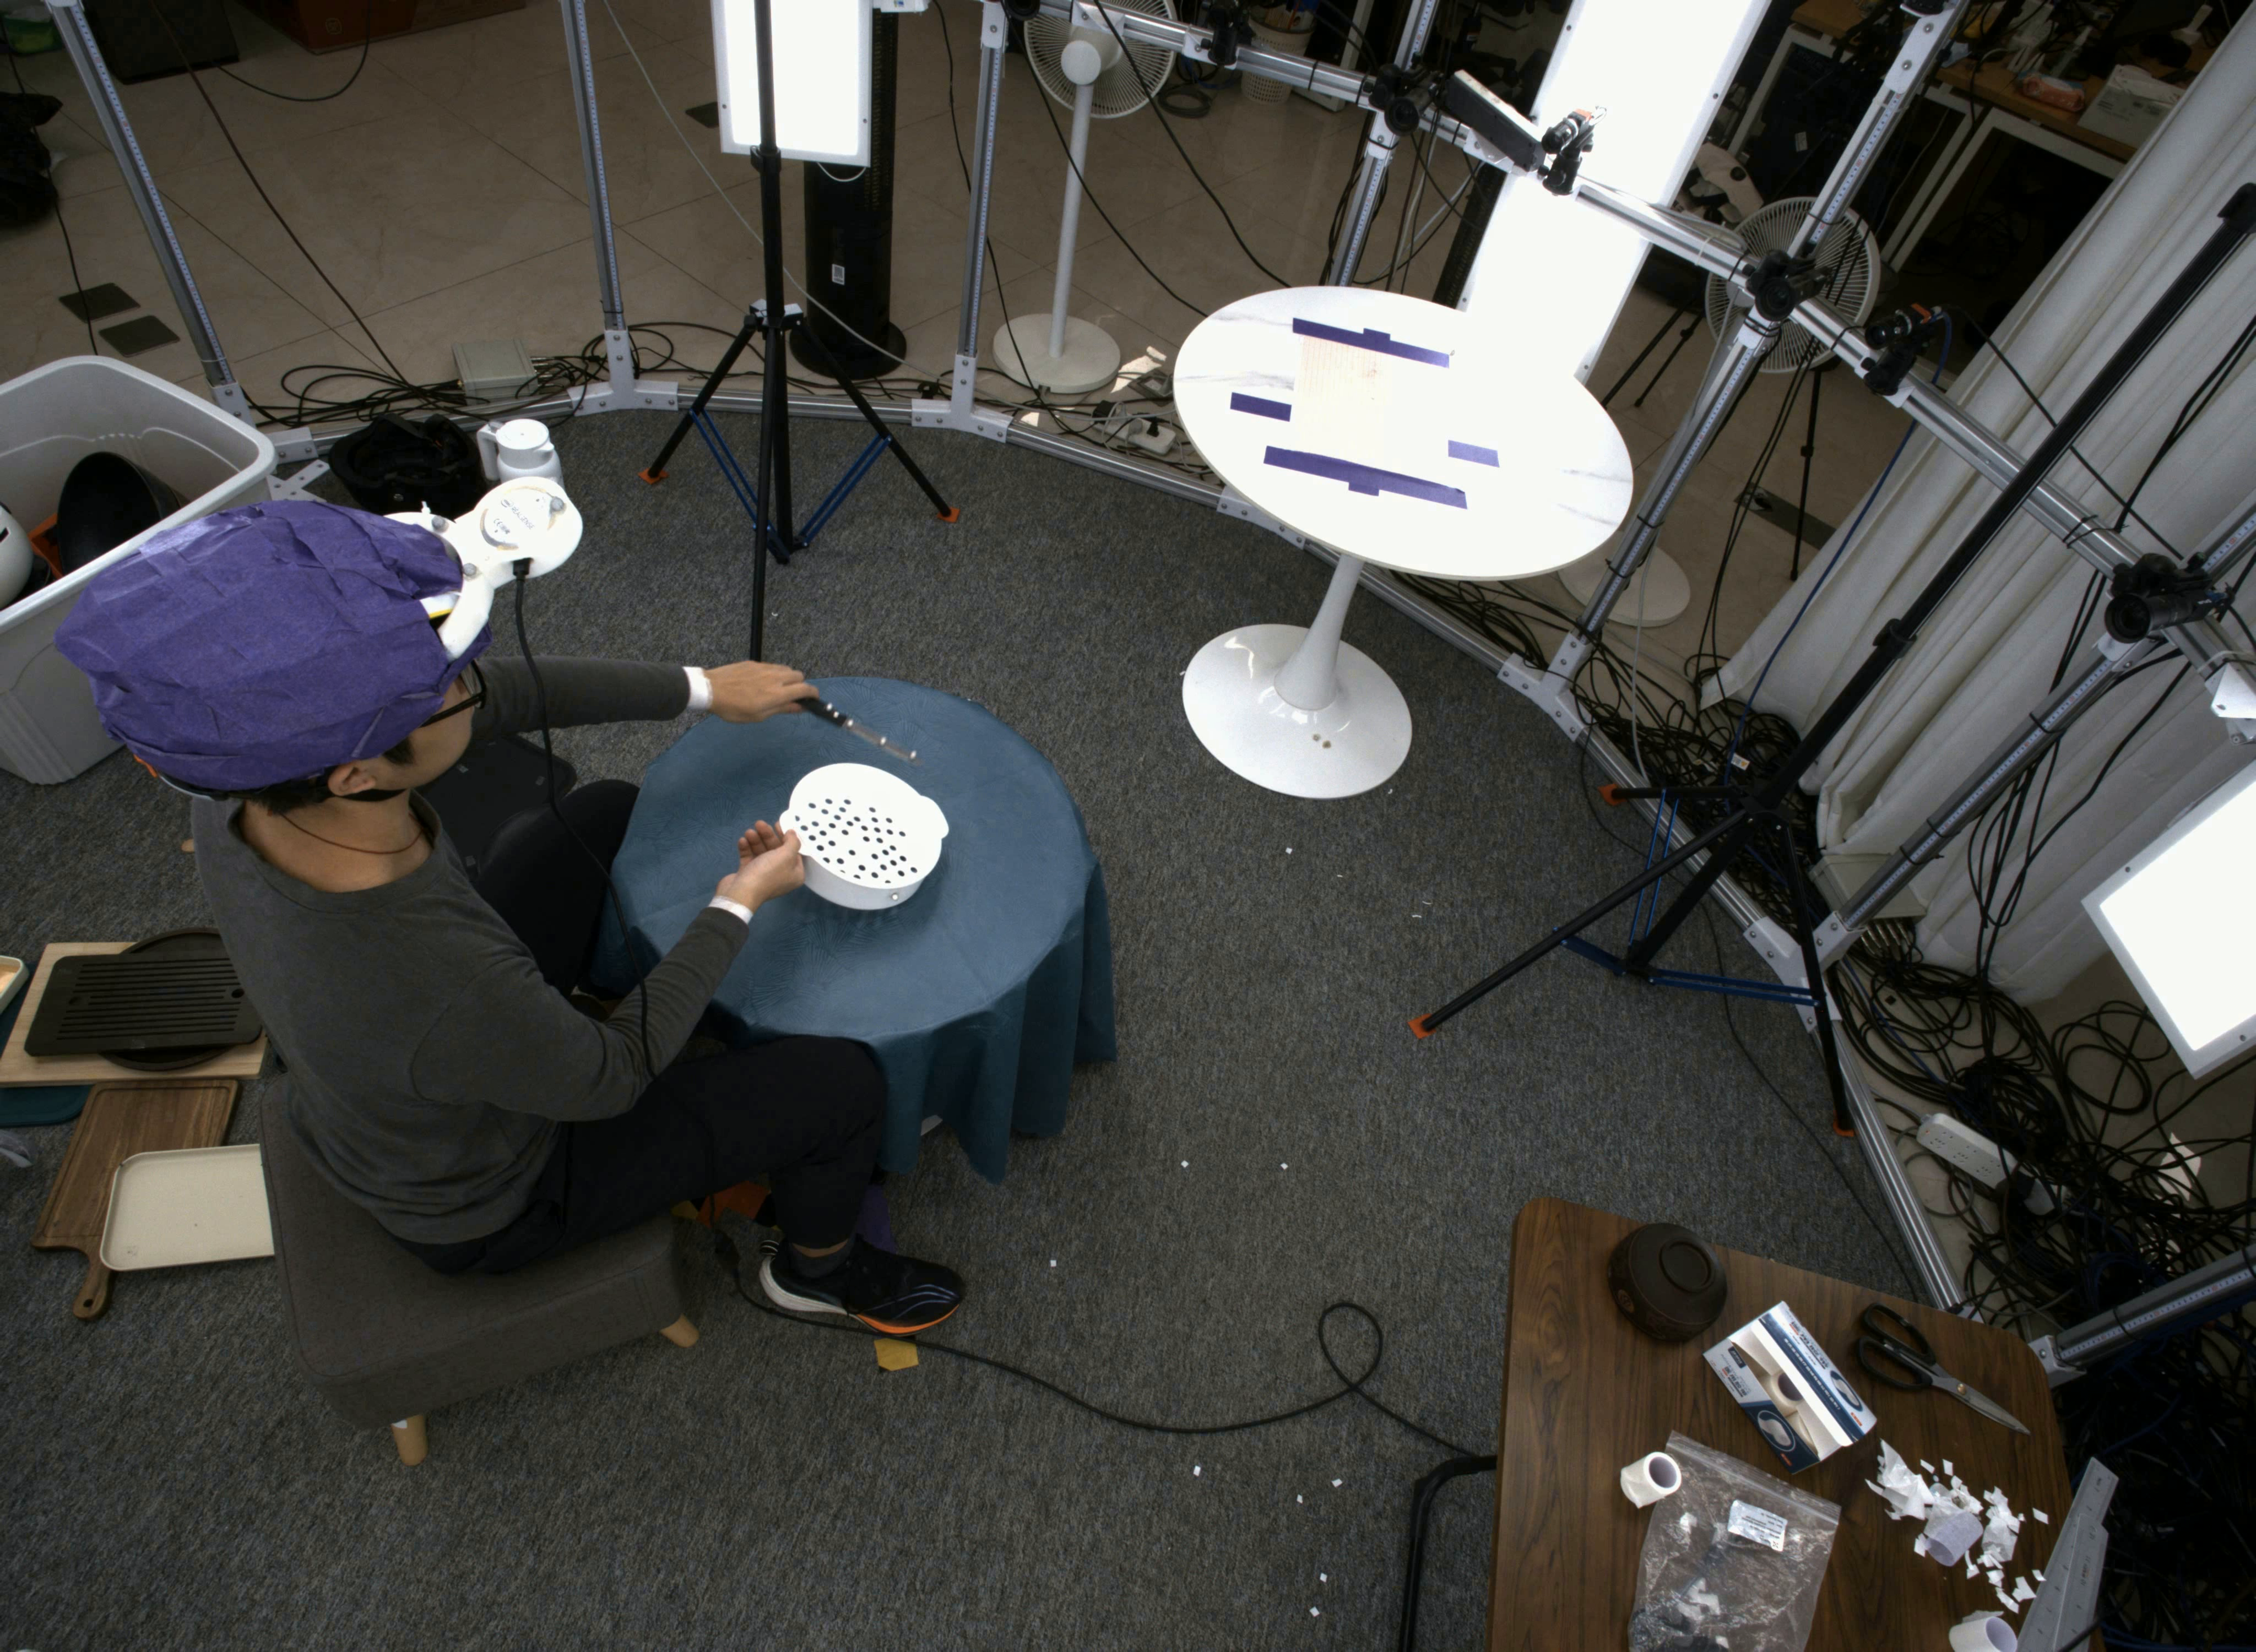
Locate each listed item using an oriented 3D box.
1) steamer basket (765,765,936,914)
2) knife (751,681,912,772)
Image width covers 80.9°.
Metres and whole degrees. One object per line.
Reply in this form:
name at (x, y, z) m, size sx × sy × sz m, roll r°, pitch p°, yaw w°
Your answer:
steamer basket at (-0.360, 0.016, 1.670) m, size 0.234 × 0.070 × 0.197 m, roll -10°, pitch 59°, yaw -41°
knife at (-0.396, -0.128, 1.727) m, size 0.240 × 0.016 × 0.024 m, roll 28°, pitch 39°, yaw -12°
